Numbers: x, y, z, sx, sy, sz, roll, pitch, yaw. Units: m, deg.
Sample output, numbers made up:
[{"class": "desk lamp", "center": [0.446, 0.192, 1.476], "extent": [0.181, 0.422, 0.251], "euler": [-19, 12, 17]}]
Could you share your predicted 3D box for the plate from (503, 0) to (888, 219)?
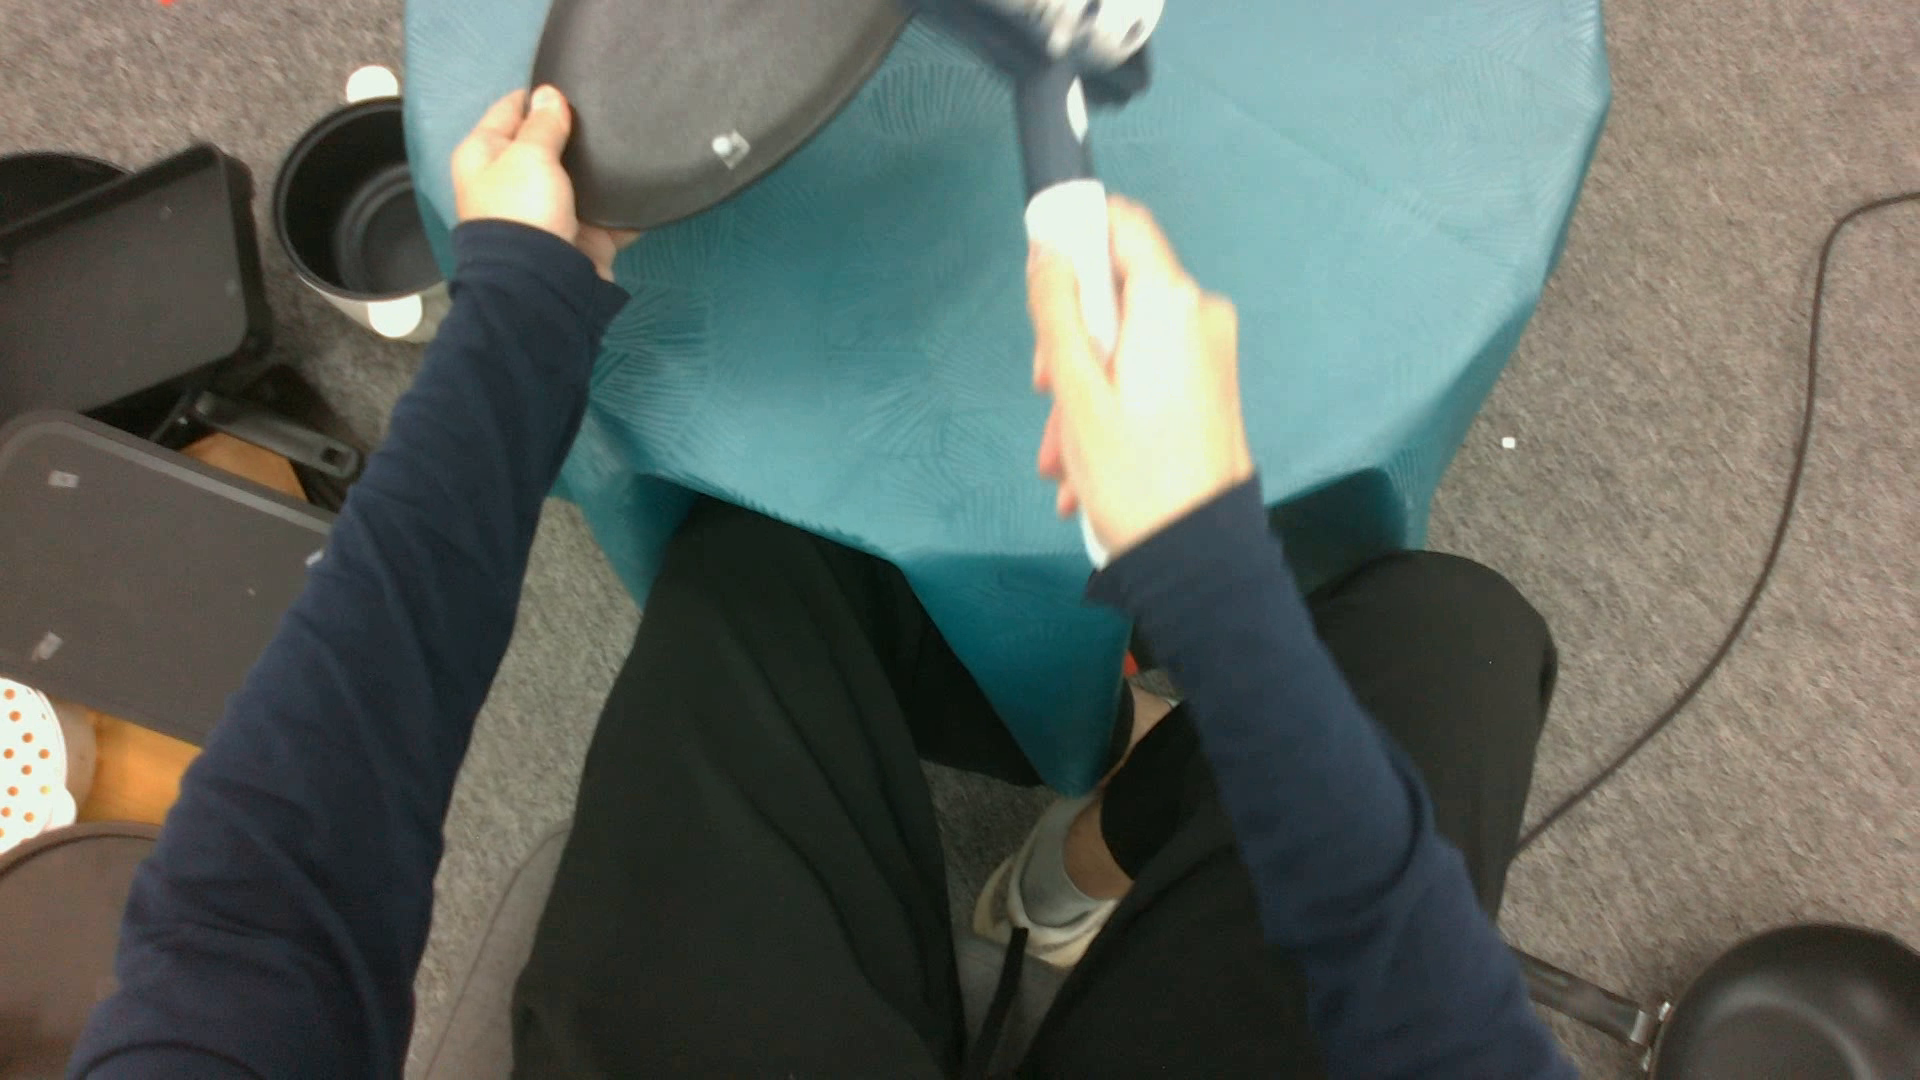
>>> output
[{"class": "plate", "center": [-0.102, -0.241, 0.582], "extent": [0.243, 0.023, 0.245], "euler": [-14, 64, 30]}]

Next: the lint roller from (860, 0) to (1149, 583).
[{"class": "lint roller", "center": [0.036, -0.108, 0.499], "extent": [0.050, 0.177, 0.247], "euler": [-17, 85, 27]}]
